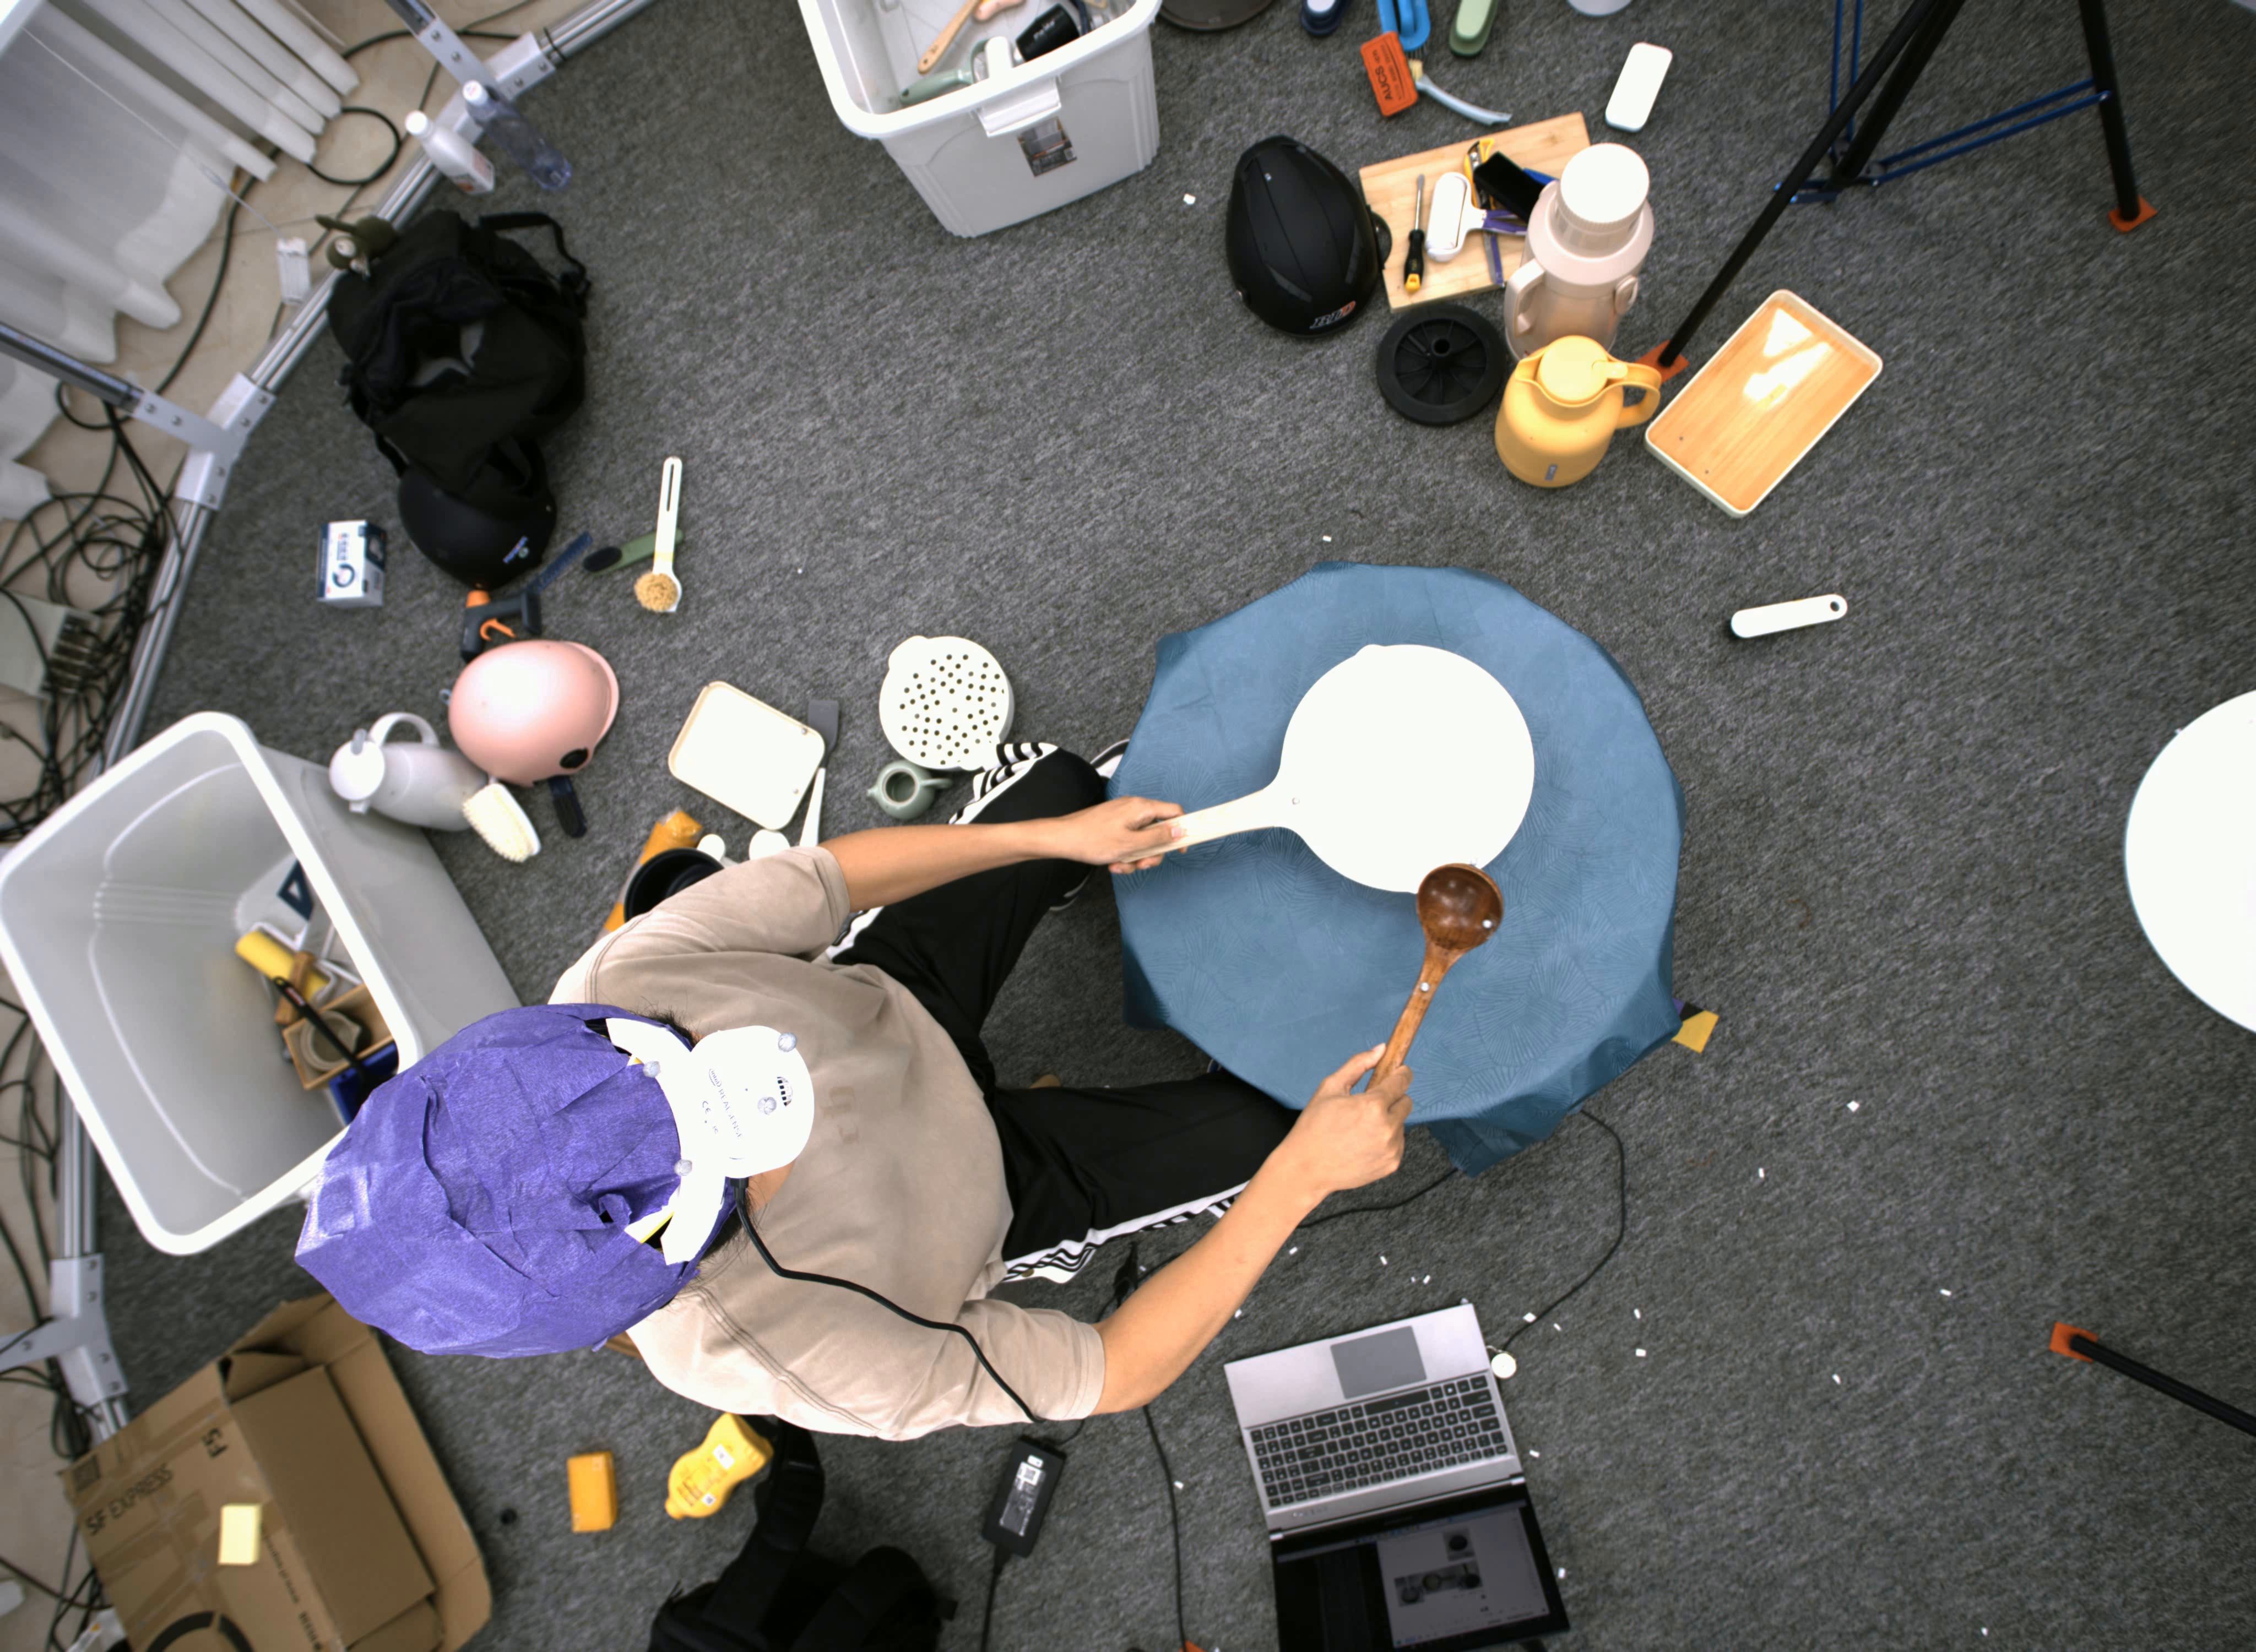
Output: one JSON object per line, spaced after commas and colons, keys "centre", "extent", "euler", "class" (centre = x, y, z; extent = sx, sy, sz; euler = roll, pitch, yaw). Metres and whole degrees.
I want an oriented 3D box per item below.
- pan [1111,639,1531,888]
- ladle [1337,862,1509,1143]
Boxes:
{"centre": [0.196, -0.036, 1.431], "extent": [0.437, 0.102, 0.262], "euler": [-17, 85, 9], "class": "pan"}
{"centre": [0.257, 0.151, 1.230], "extent": [0.082, 0.078, 0.269], "euler": [22, 65, 28], "class": "ladle"}
